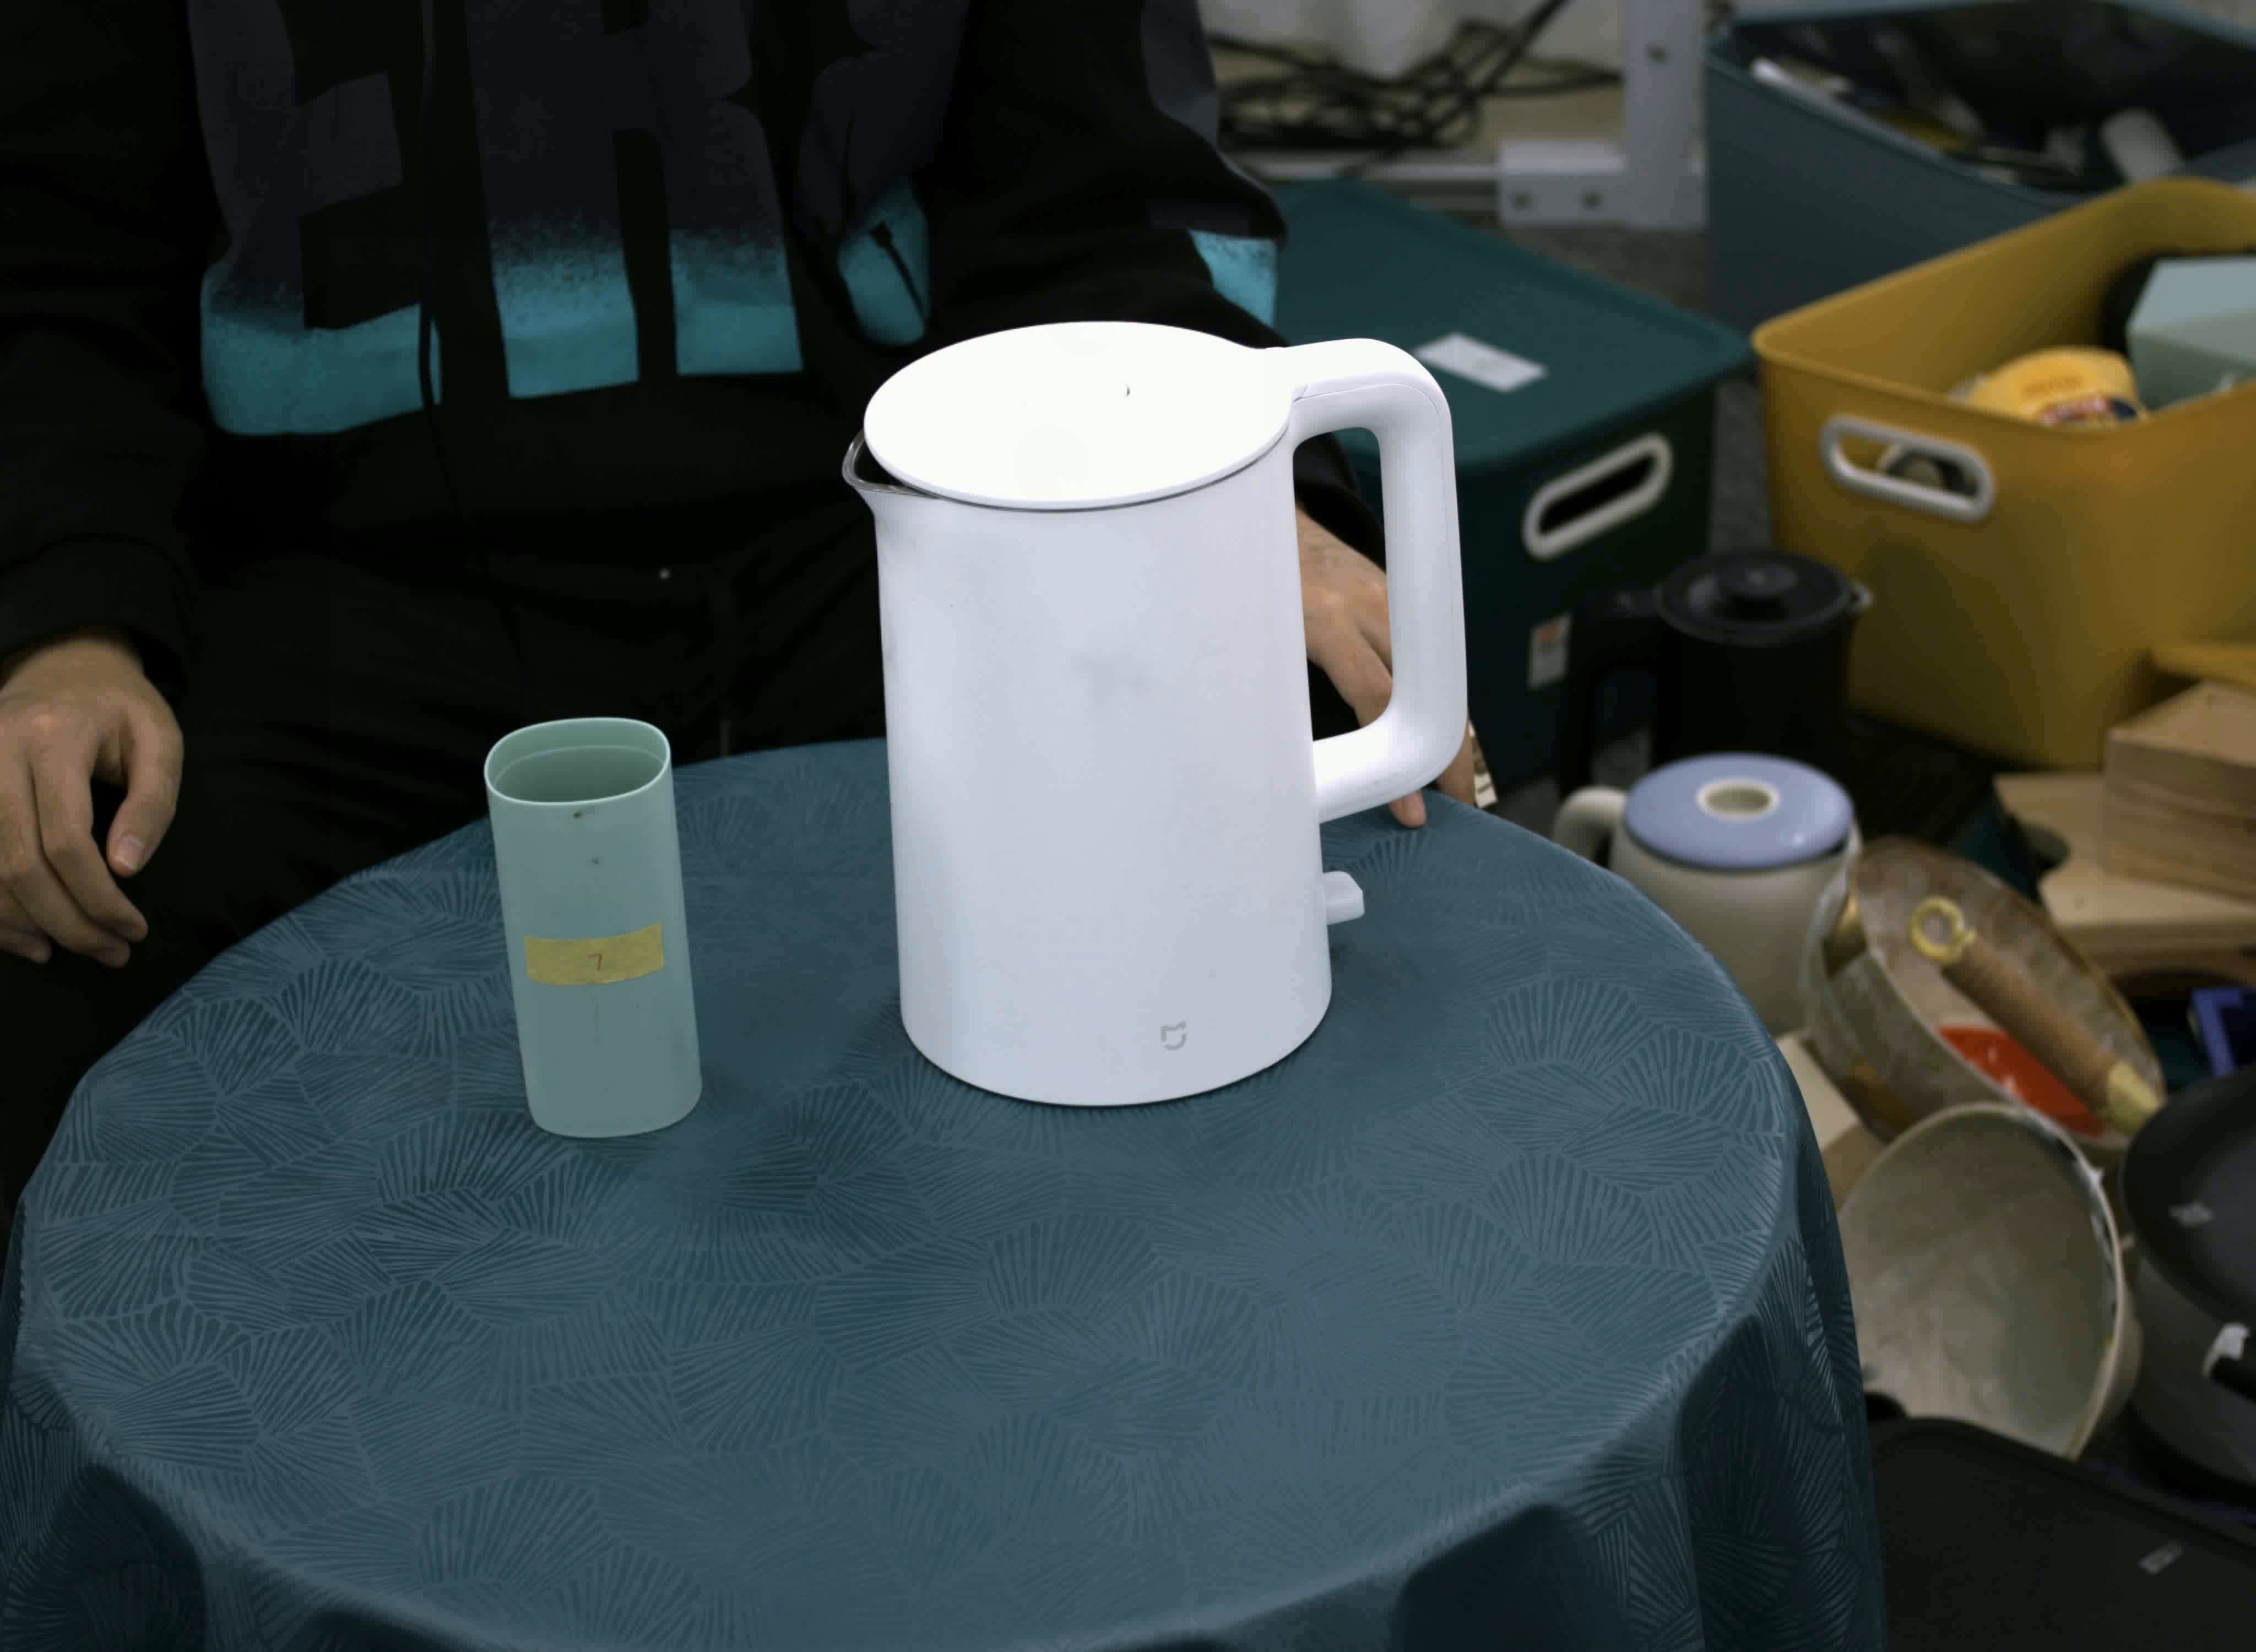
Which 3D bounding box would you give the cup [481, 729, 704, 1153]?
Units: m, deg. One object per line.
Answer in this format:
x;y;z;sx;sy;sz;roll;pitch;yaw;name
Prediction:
-0.180;0.039;1.905;0.066;0.131;0.068;-3;27;2;cup

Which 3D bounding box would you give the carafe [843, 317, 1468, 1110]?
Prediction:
0.014;-0.044;1.930;0.213;0.237;0.153;-12;29;-15;carafe
